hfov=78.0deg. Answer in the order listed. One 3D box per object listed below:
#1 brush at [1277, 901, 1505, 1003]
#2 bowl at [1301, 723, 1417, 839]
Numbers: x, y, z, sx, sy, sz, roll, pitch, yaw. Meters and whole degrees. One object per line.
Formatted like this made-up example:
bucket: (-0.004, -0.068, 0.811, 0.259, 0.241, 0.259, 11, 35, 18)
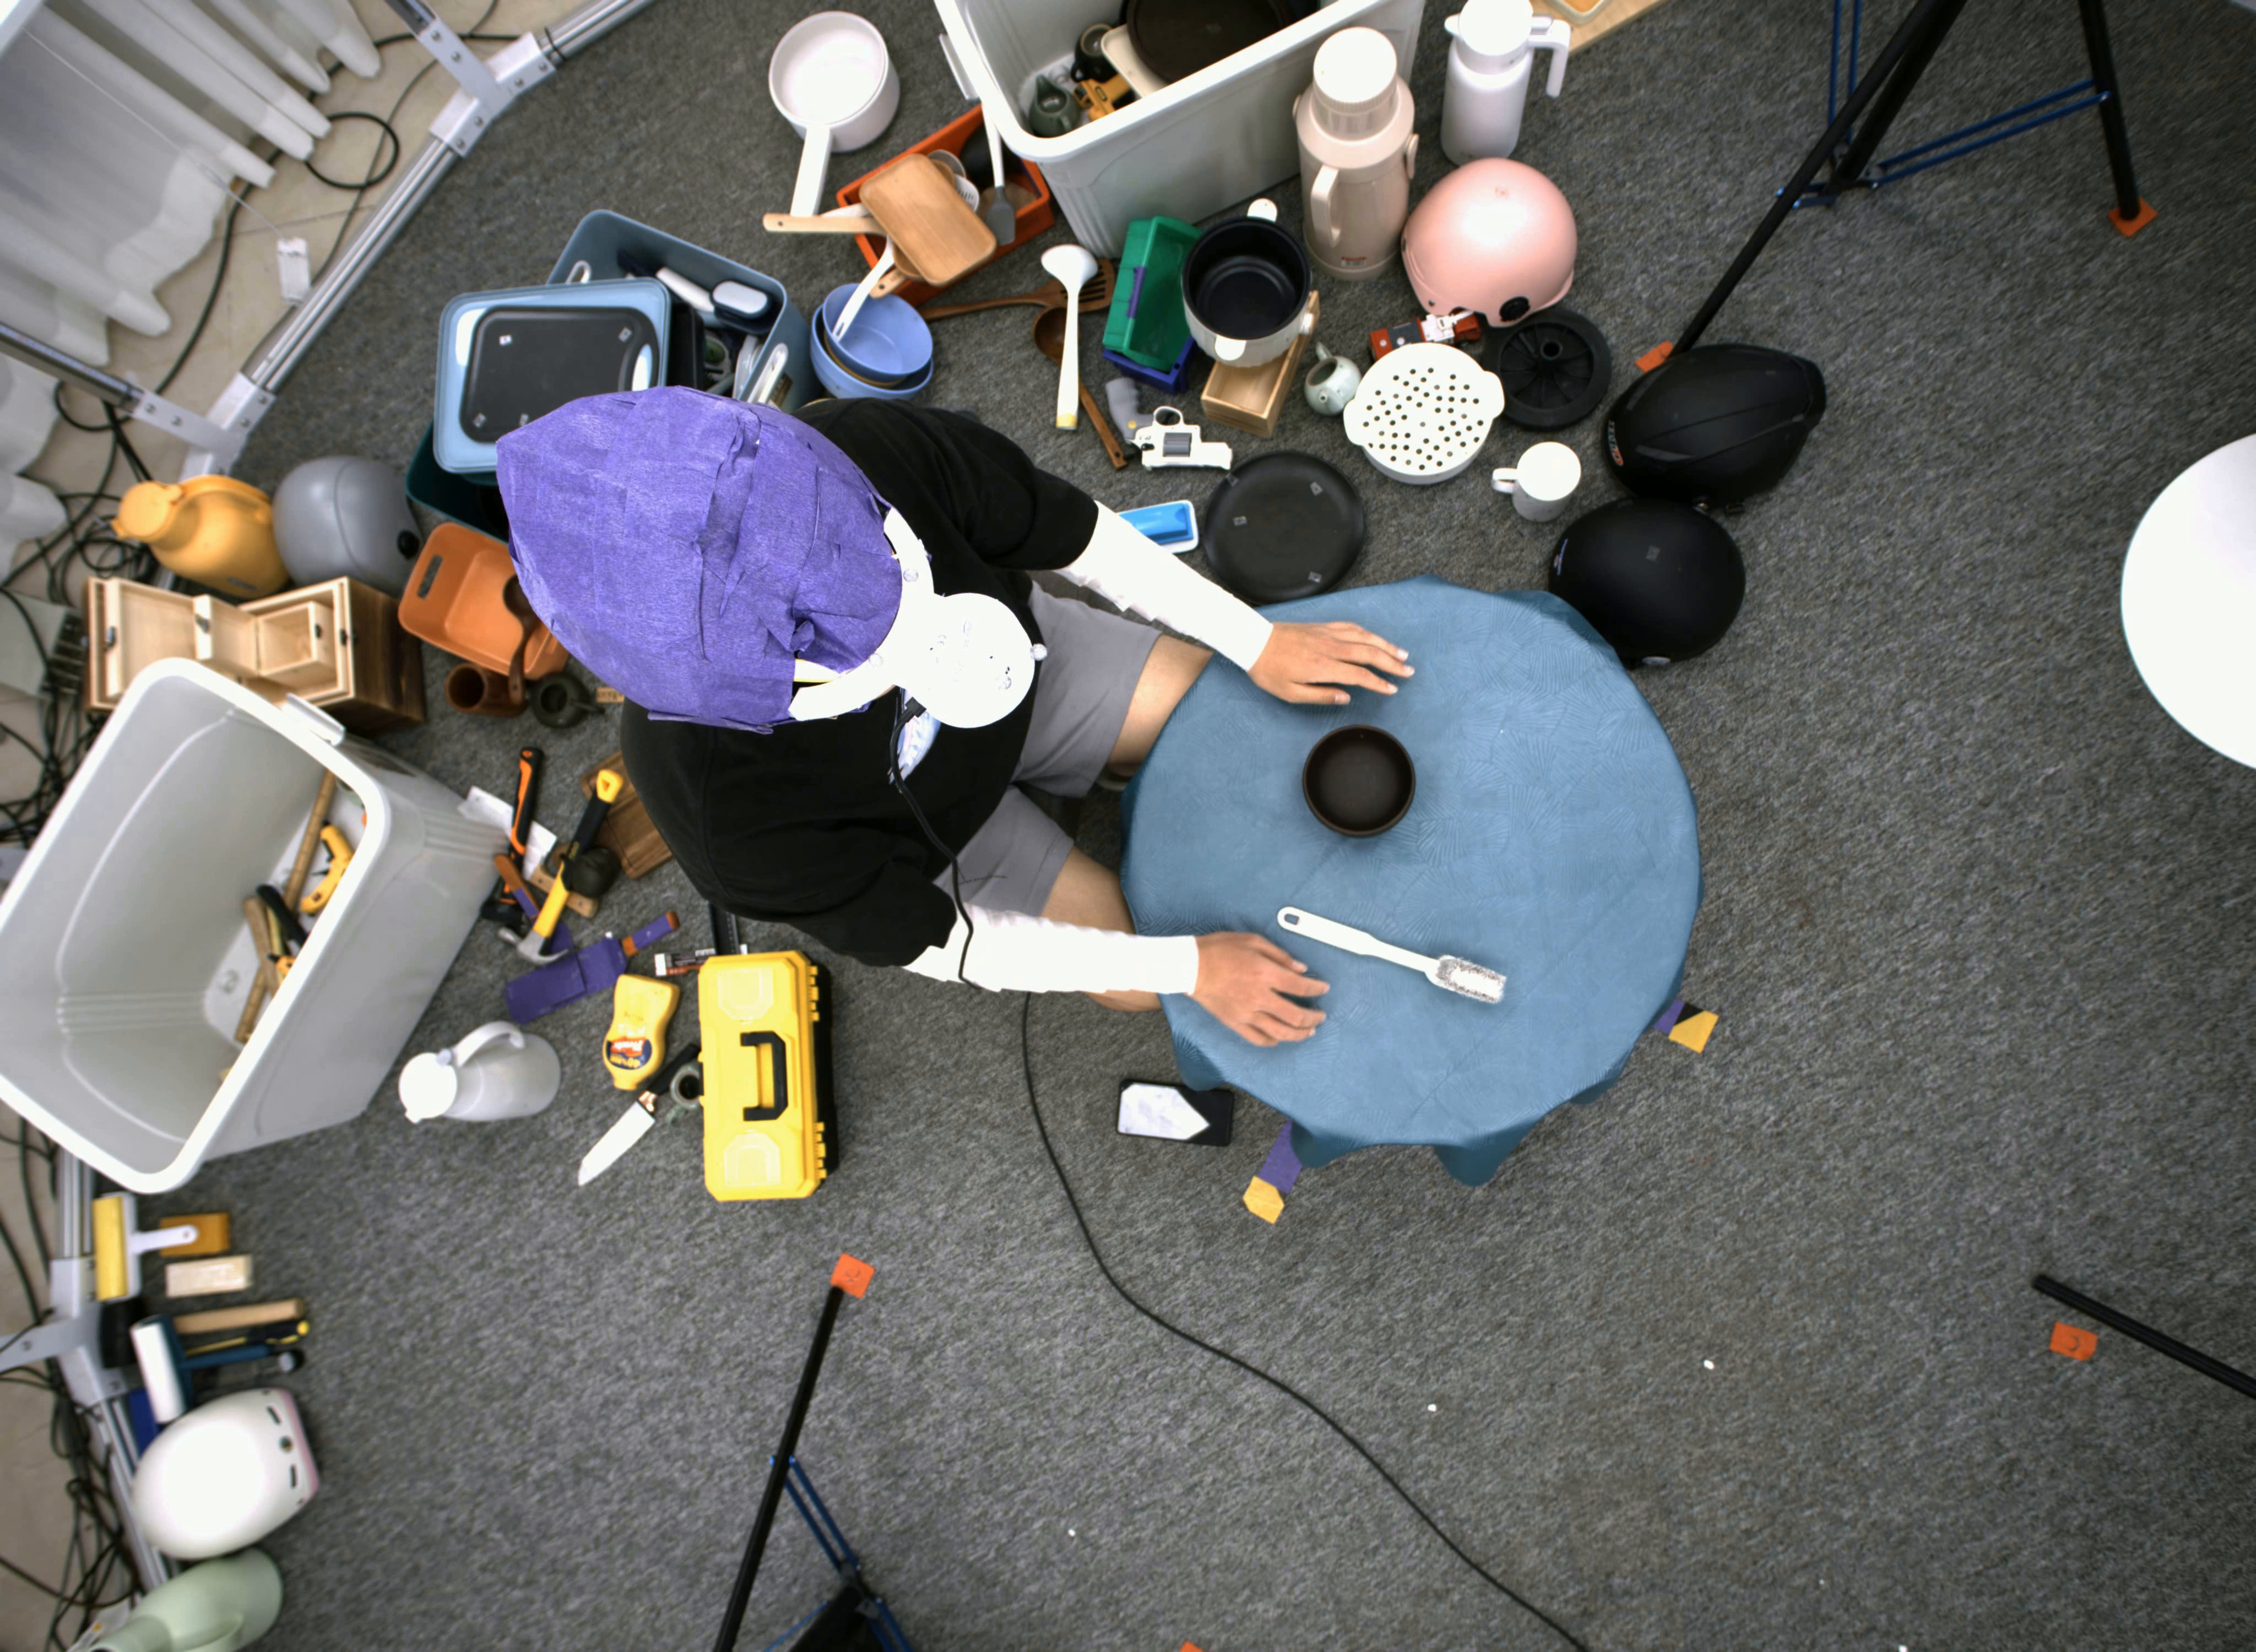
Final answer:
brush: (0.269, 0.126, 1.430, 0.243, 0.050, 0.034, 20, 88, 10)
bowl: (0.240, -0.045, 1.433, 0.118, 0.070, 0.117, -1, 86, 12)
